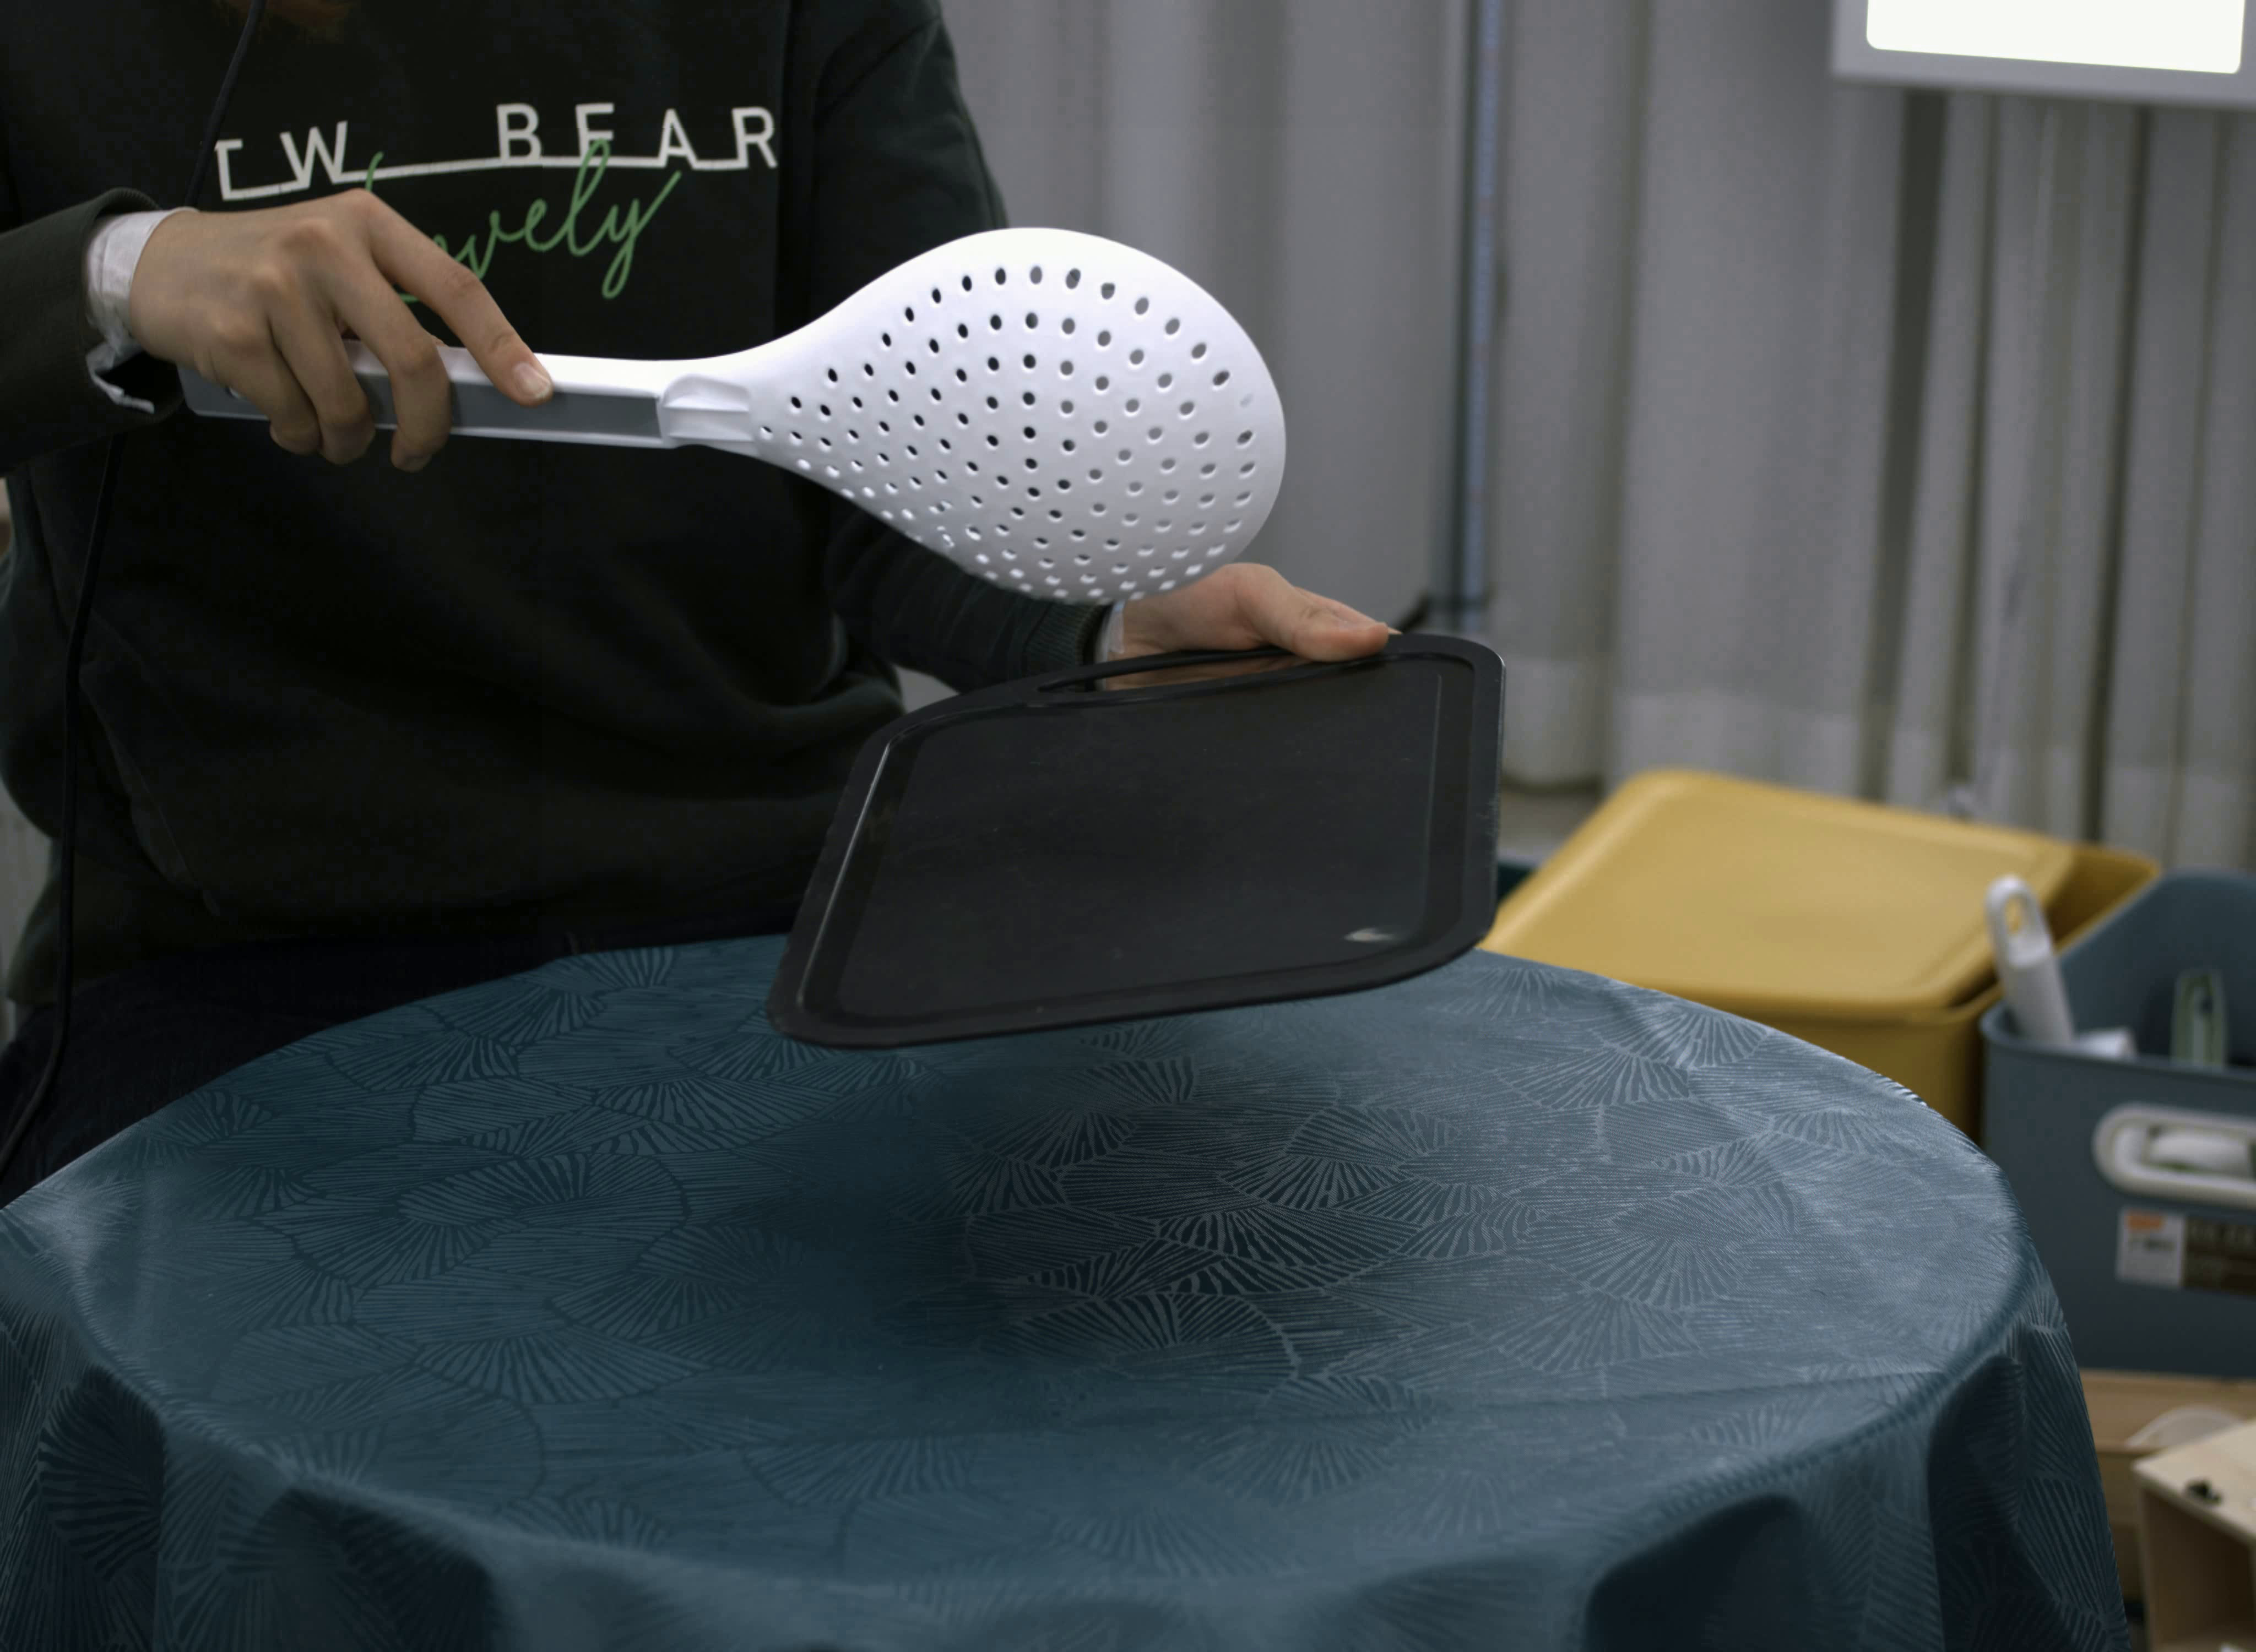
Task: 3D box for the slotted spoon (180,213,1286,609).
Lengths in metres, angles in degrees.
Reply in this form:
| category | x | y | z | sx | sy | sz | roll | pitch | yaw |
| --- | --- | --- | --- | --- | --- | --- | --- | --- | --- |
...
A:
| category | x | y | z | sx | sy | sz | roll | pitch | yaw |
| --- | --- | --- | --- | --- | --- | --- | --- | --- | --- |
| slotted spoon | -0.125 | -0.129 | 1.599 | 0.347 | 0.138 | 0.045 | 8 | 37 | 16 |

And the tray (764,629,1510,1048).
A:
| category | x | y | z | sx | sy | sz | roll | pitch | yaw |
| --- | --- | --- | --- | --- | --- | --- | --- | --- | --- |
| tray | 0.009 | -0.004 | 1.591 | 0.210 | 0.010 | 0.324 | -7 | 20 | 8 |
